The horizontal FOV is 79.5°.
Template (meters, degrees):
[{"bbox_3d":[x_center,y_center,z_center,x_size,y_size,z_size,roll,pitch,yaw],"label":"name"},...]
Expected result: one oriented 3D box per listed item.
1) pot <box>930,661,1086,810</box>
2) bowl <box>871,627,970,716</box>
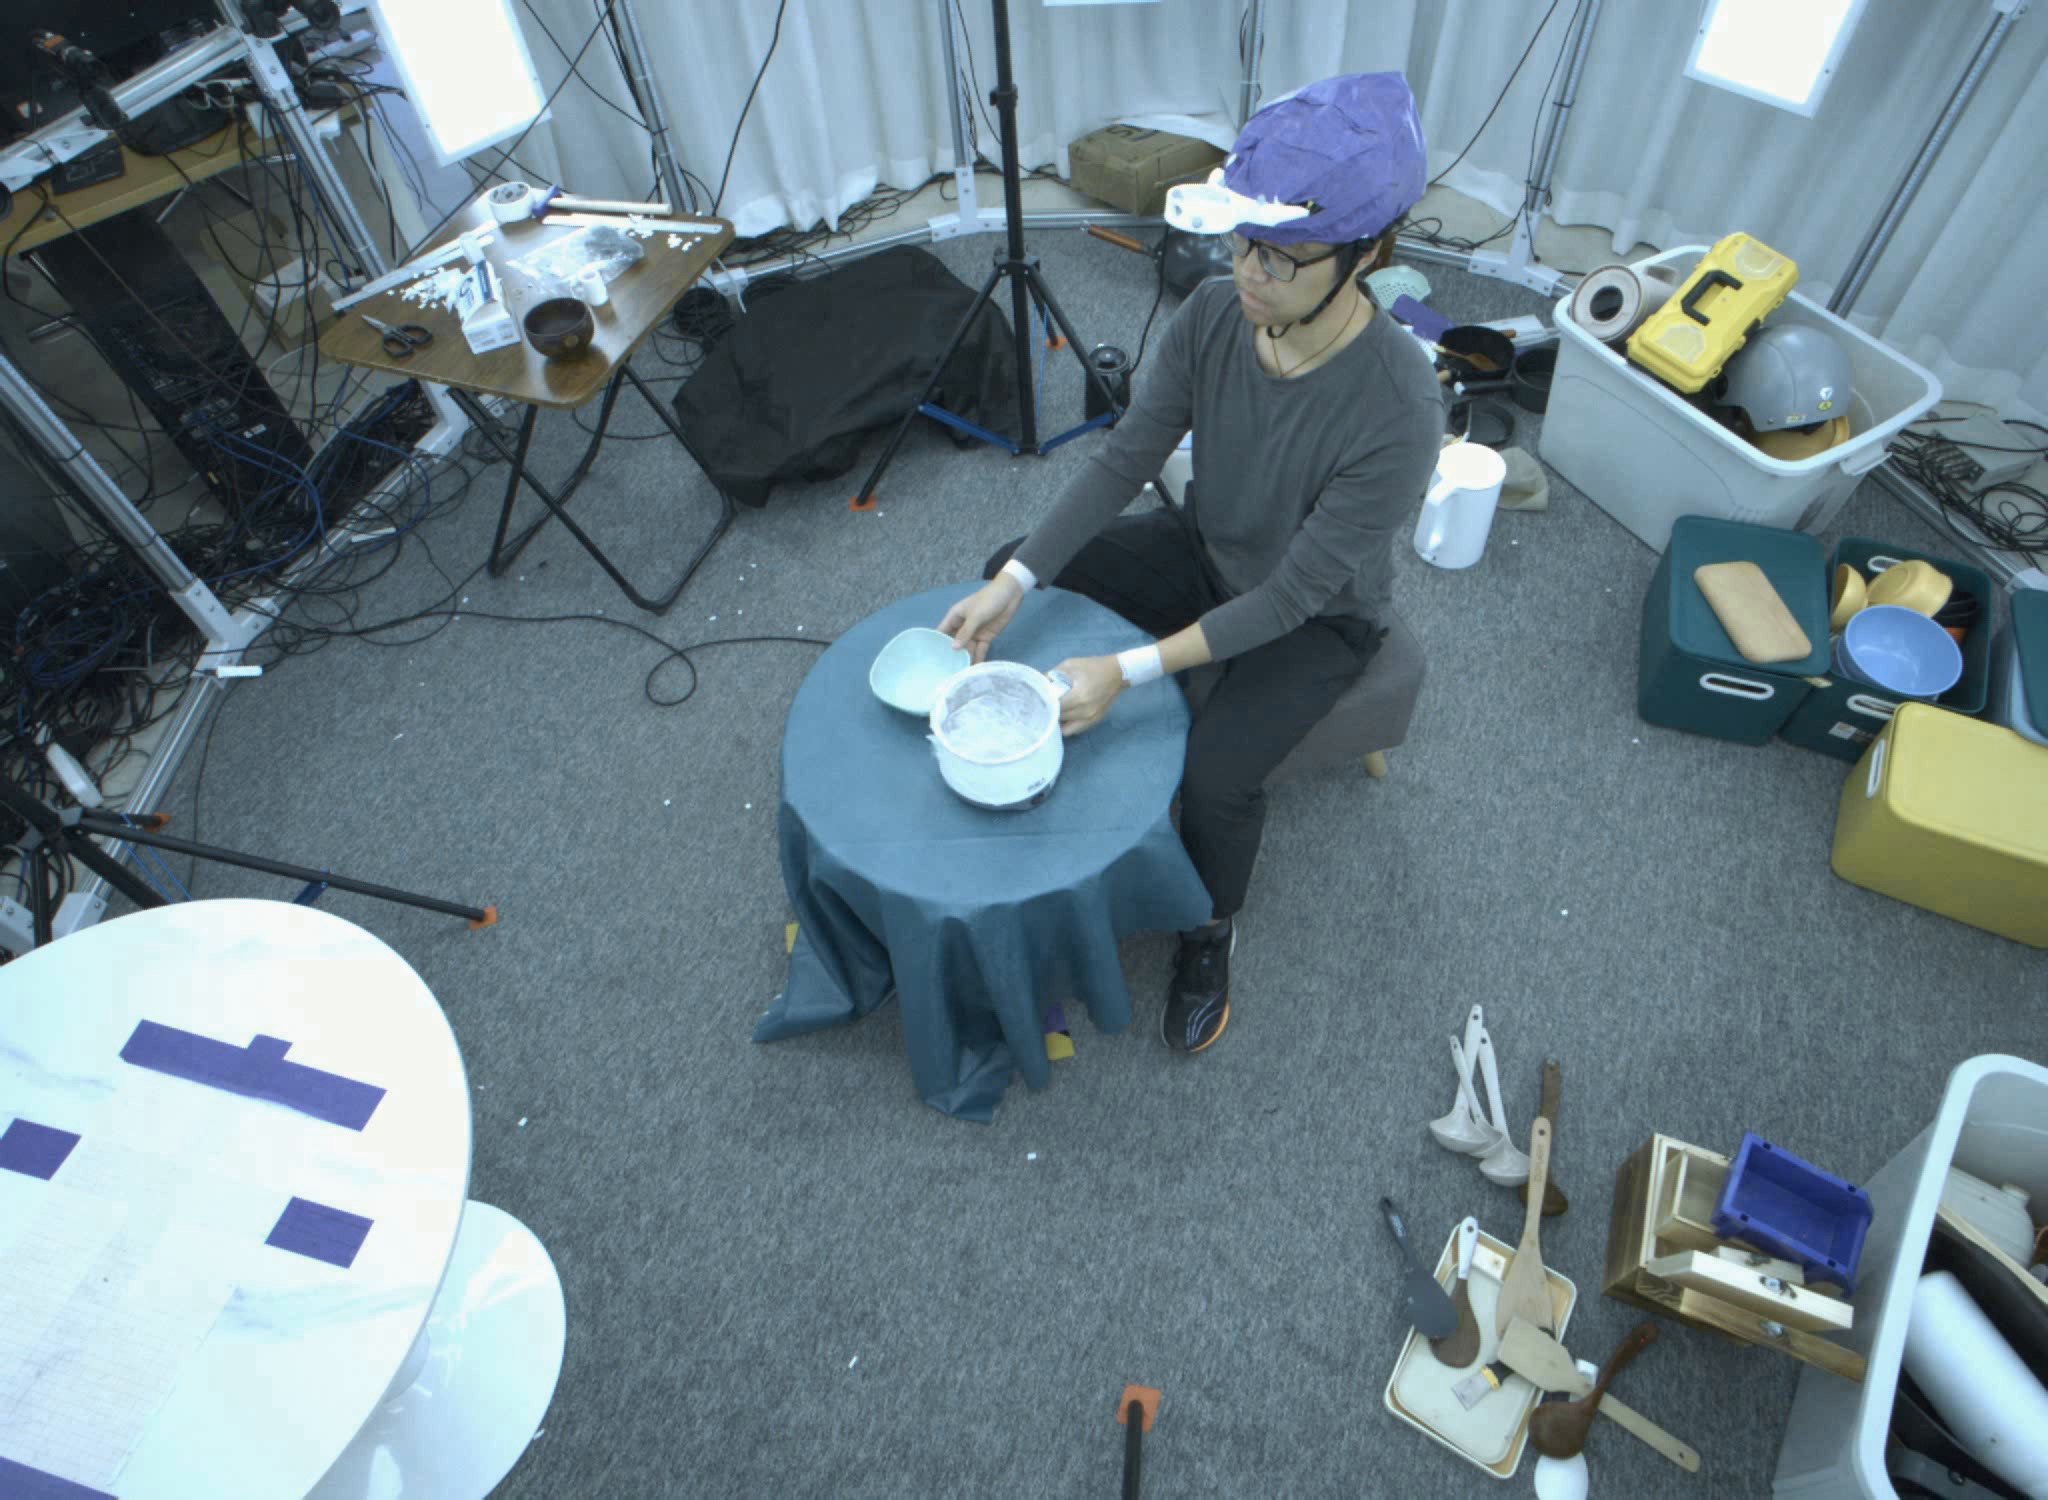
[{"bbox_3d":[-0.014,-0.030,1.734,0.235,0.138,0.175,-33,59,-20],"label":"pot"},{"bbox_3d":[-0.150,-0.107,1.834,0.151,0.059,0.150,-2,62,5],"label":"bowl"}]
